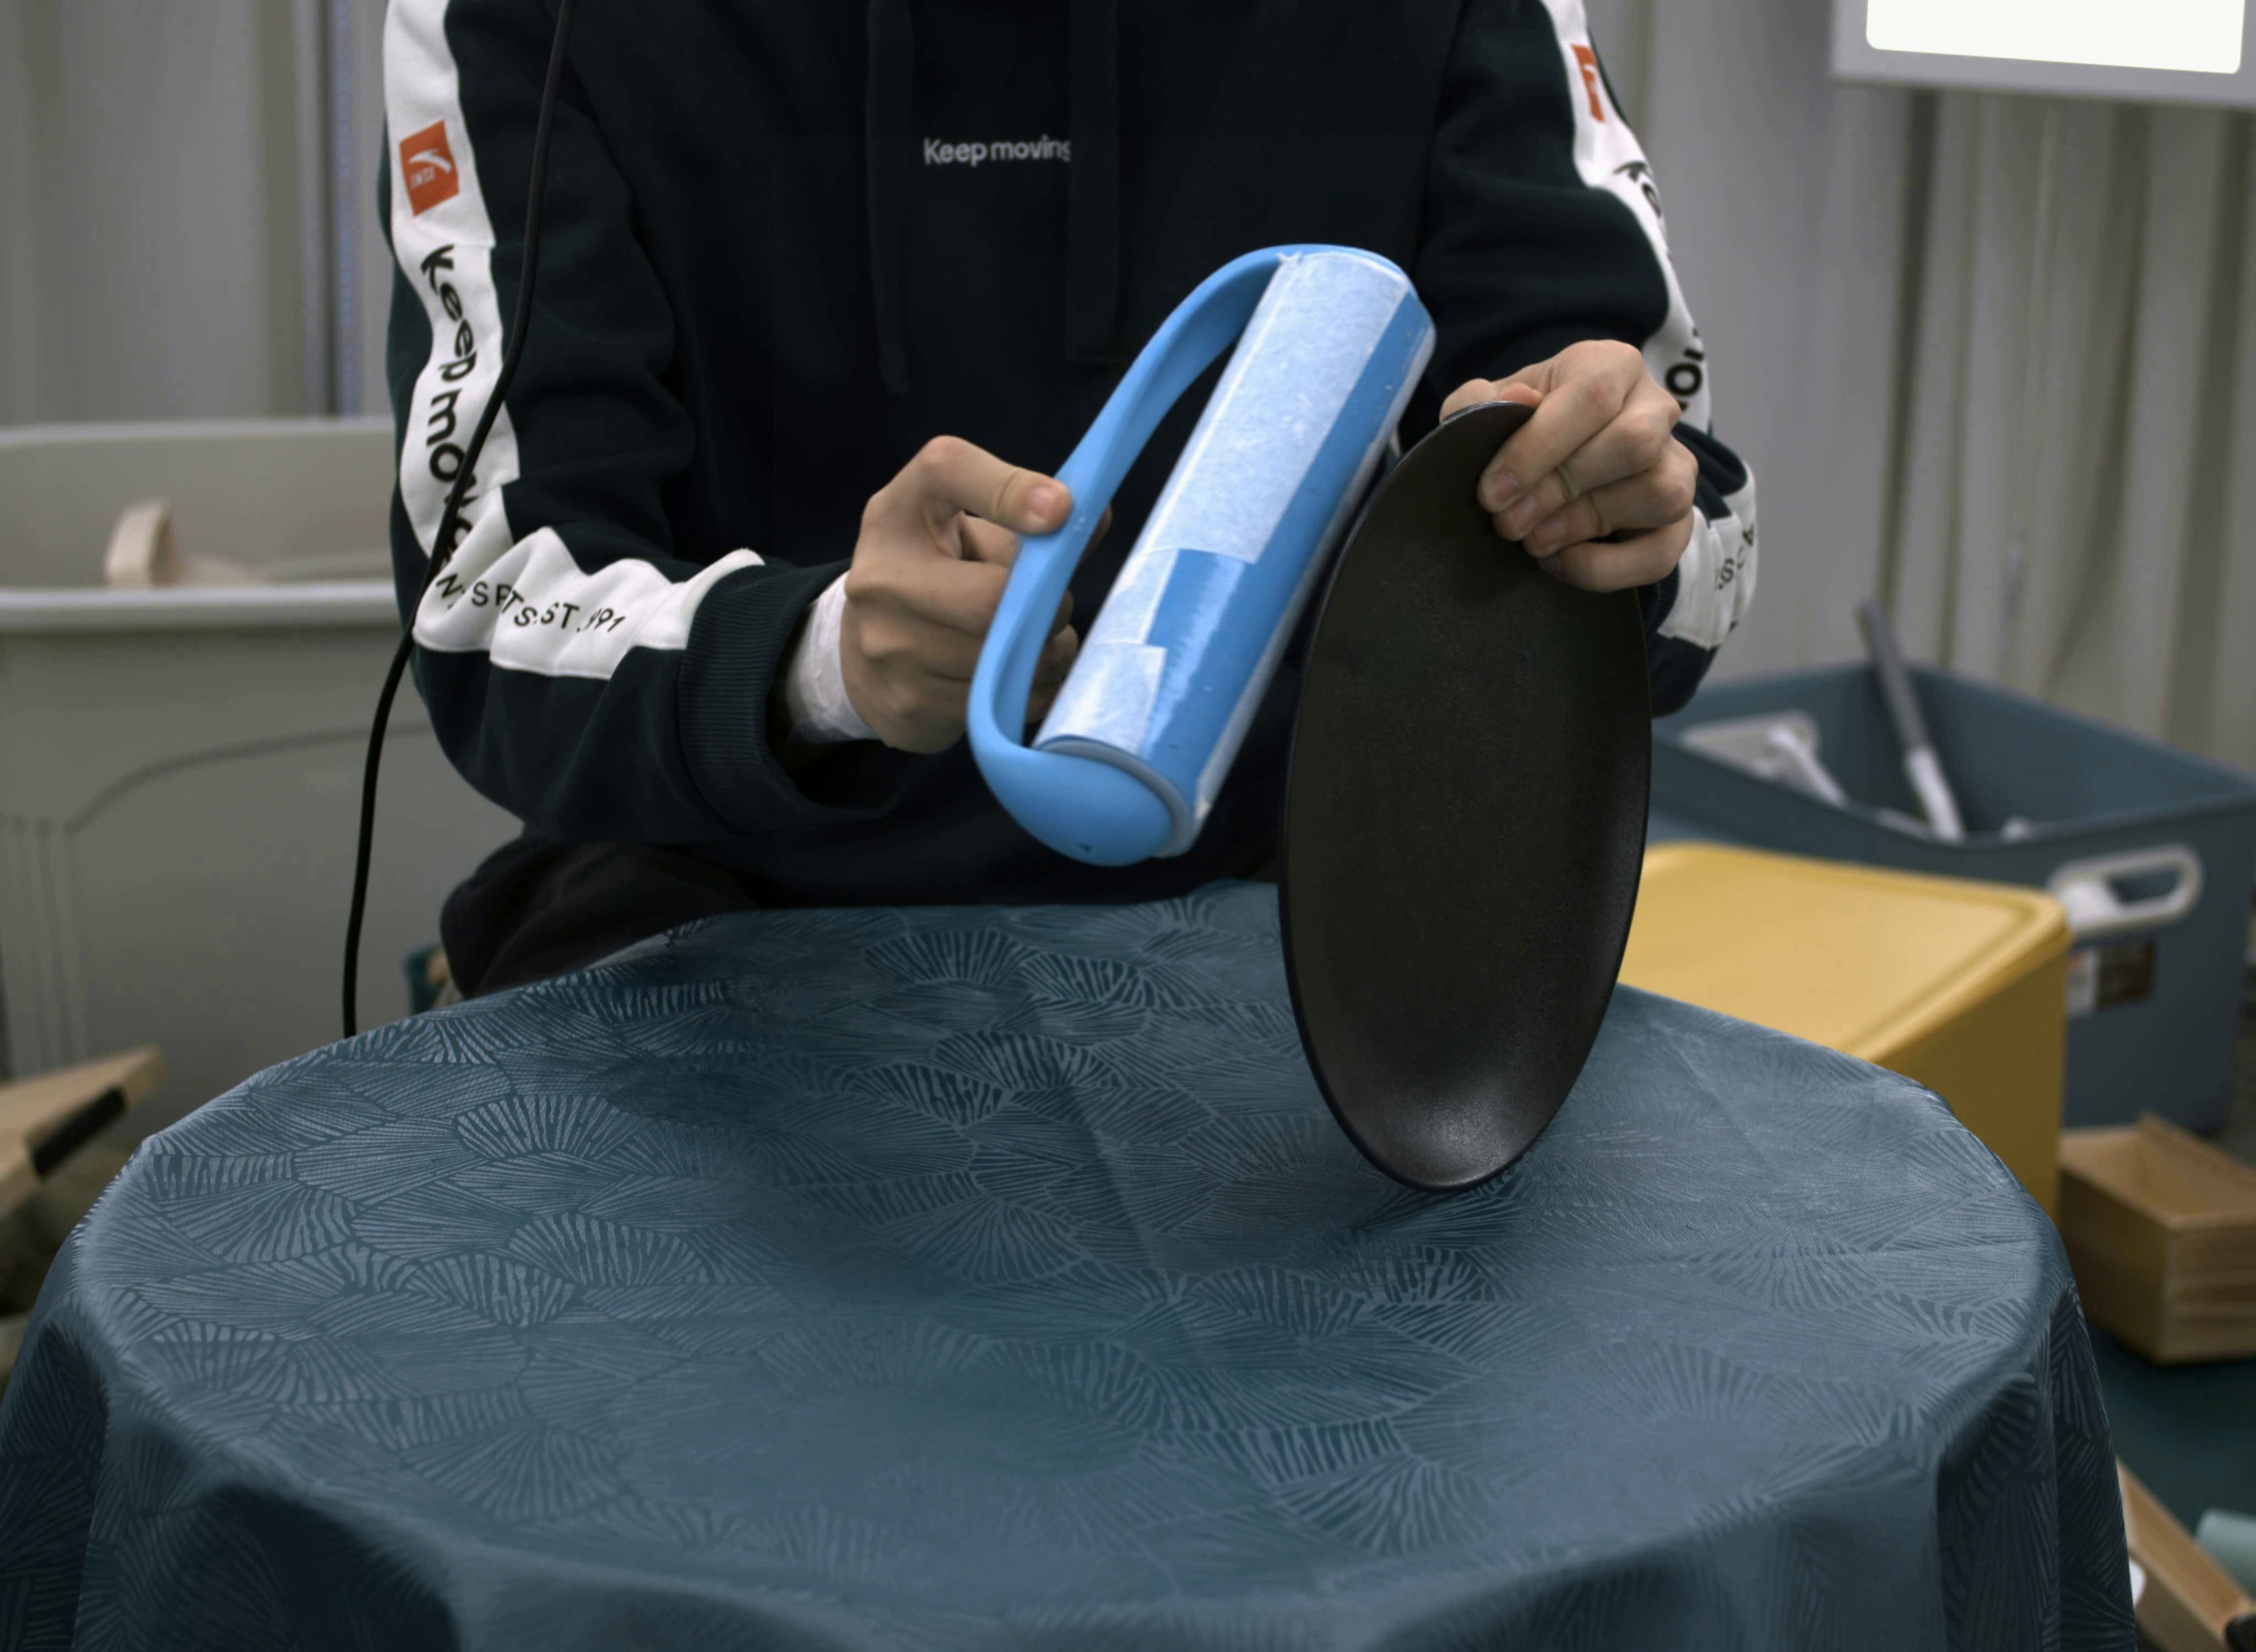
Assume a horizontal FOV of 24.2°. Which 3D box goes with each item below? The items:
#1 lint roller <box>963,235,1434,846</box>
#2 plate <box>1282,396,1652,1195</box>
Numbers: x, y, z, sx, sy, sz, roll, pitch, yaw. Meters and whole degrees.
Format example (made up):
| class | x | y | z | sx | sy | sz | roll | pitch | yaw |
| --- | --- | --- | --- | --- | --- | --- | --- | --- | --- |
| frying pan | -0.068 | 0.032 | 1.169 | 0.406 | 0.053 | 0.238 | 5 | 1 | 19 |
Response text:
| class | x | y | z | sx | sy | sz | roll | pitch | yaw |
| --- | --- | --- | --- | --- | --- | --- | --- | --- | --- |
| lint roller | -0.008 | -0.071 | 1.576 | 0.179 | 0.068 | 0.228 | -21 | 36 | 47 |
| plate | 0.100 | -0.010 | 1.610 | 0.023 | 0.246 | 0.245 | 6 | 16 | 30 |
